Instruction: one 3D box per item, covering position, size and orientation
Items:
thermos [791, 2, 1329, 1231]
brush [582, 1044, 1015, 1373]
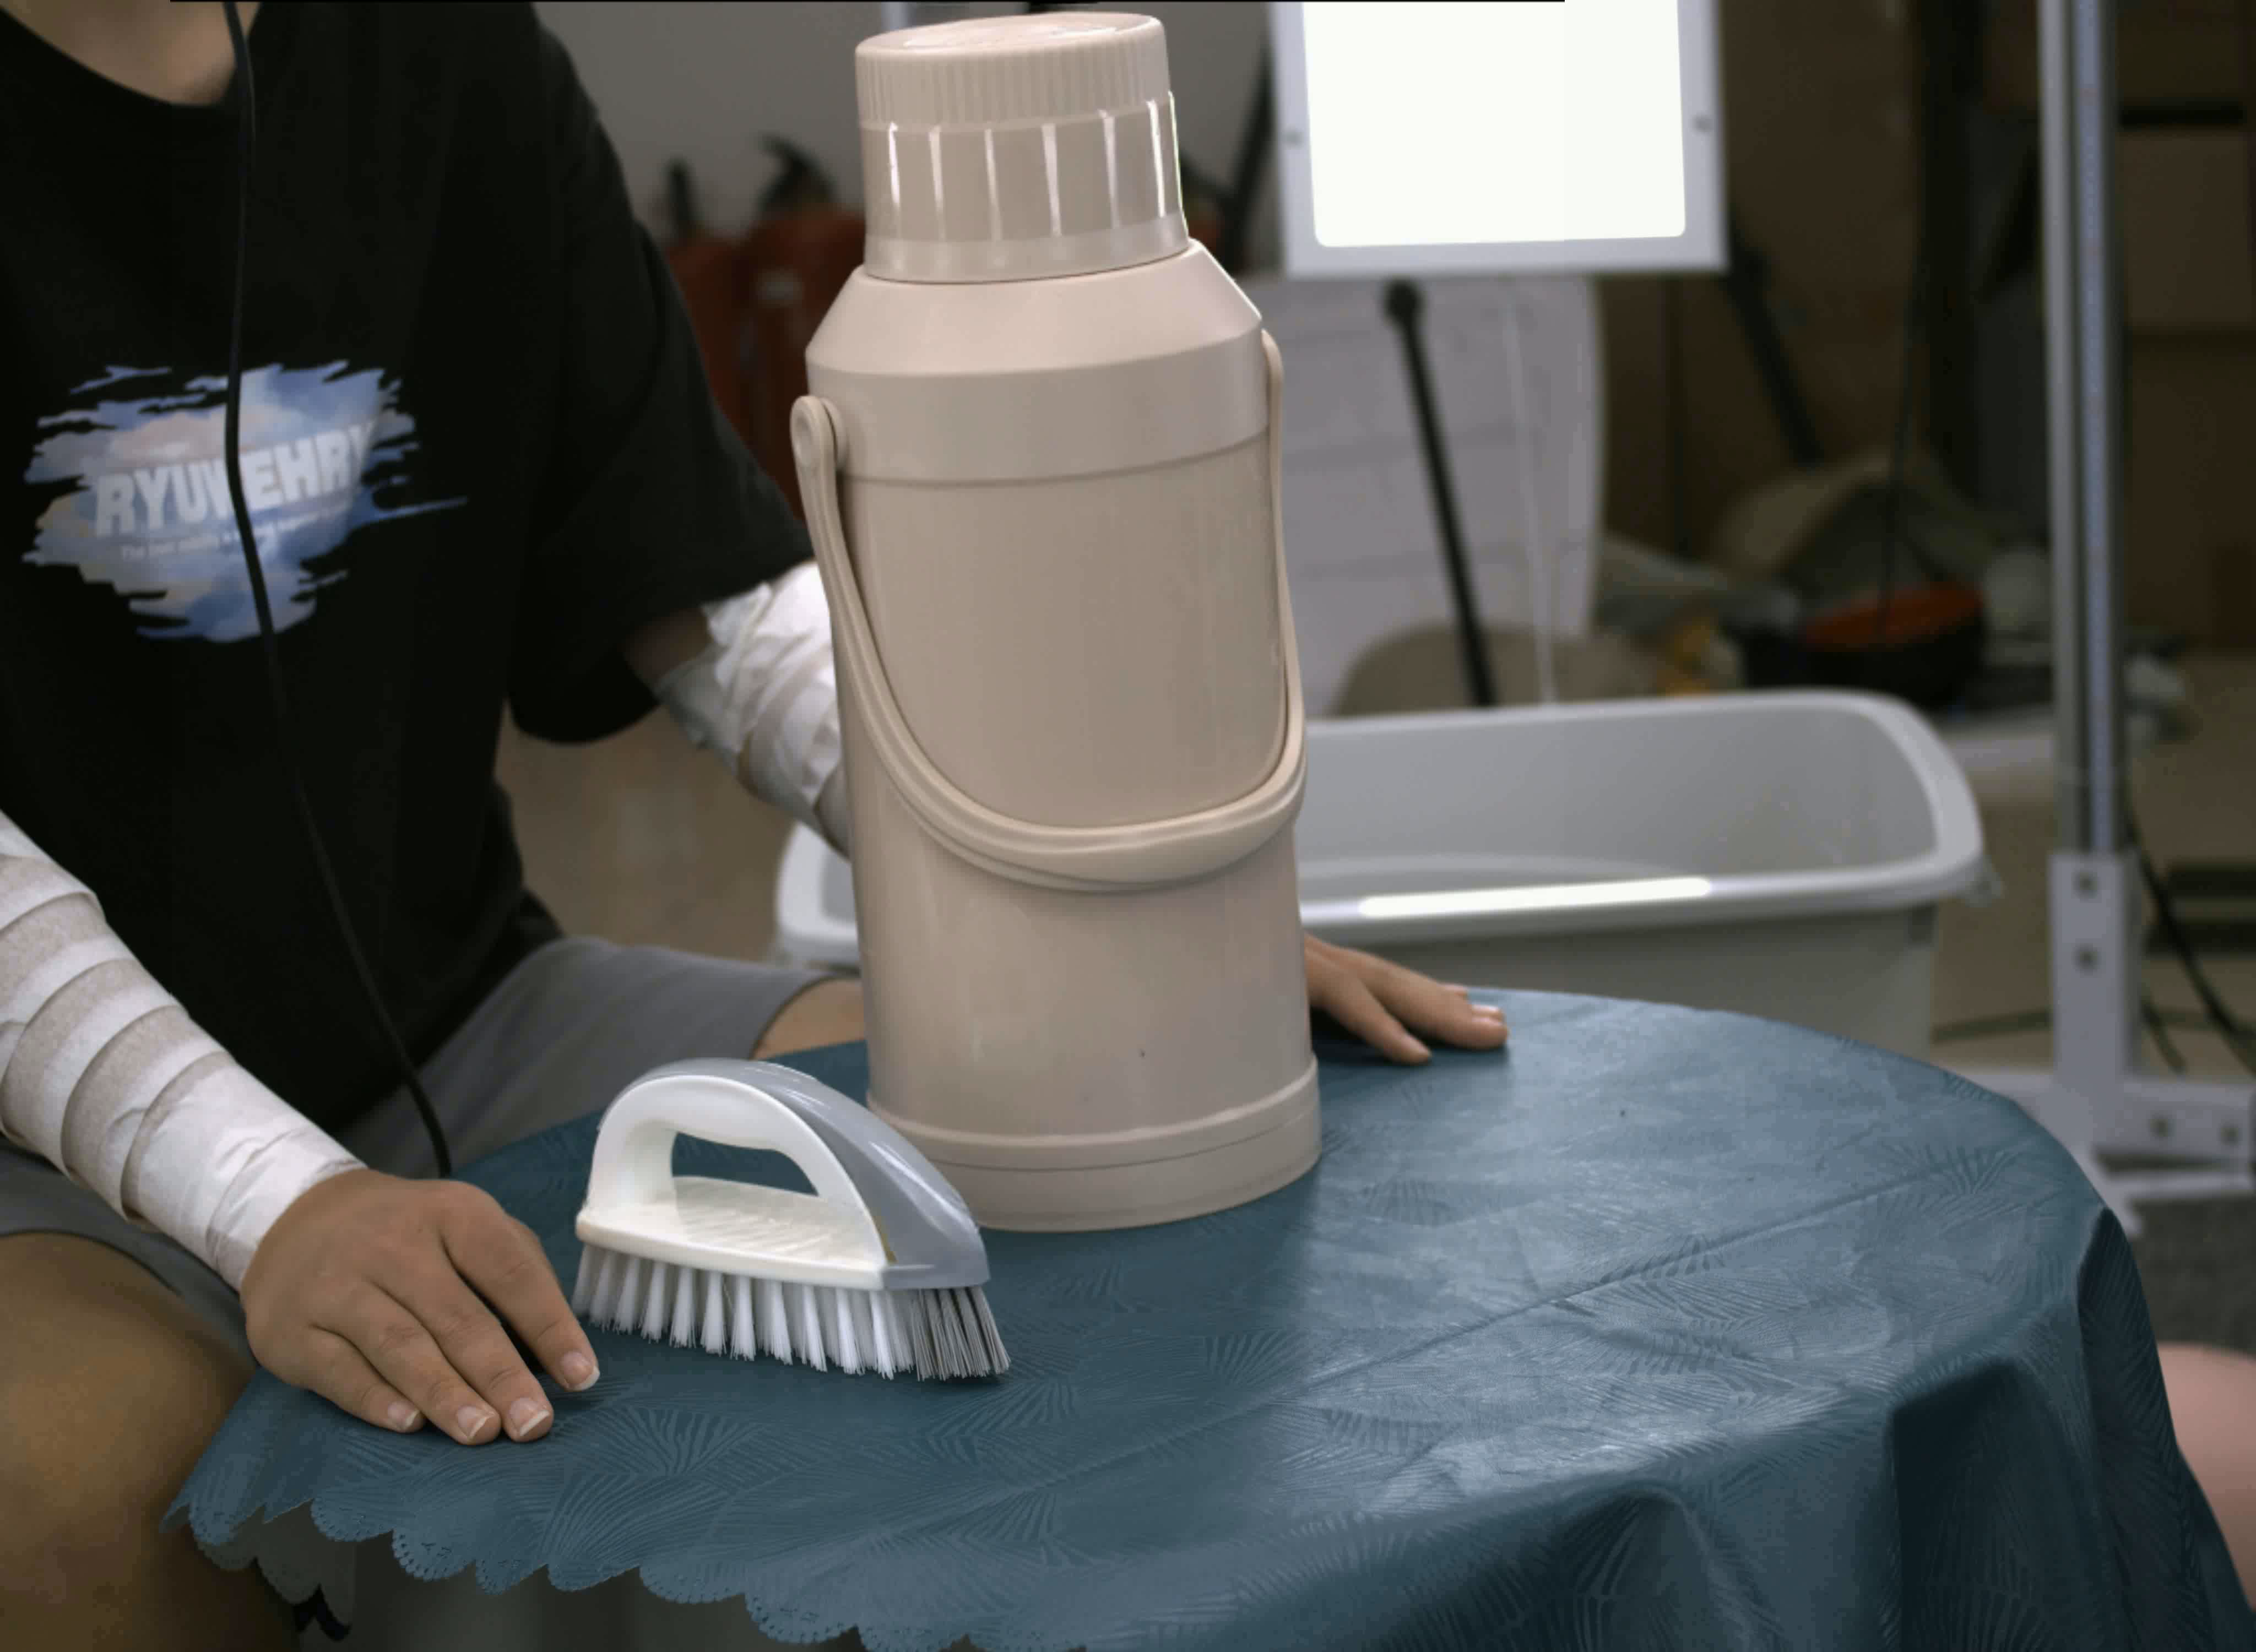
[{"bbox_3d":[-0.029,-0.076,1.901,0.172,0.408,0.210,-12,15,-23],"label":"thermos"},{"bbox_3d":[-0.106,0.120,1.770,0.179,0.094,0.060,11,26,42],"label":"brush"}]
